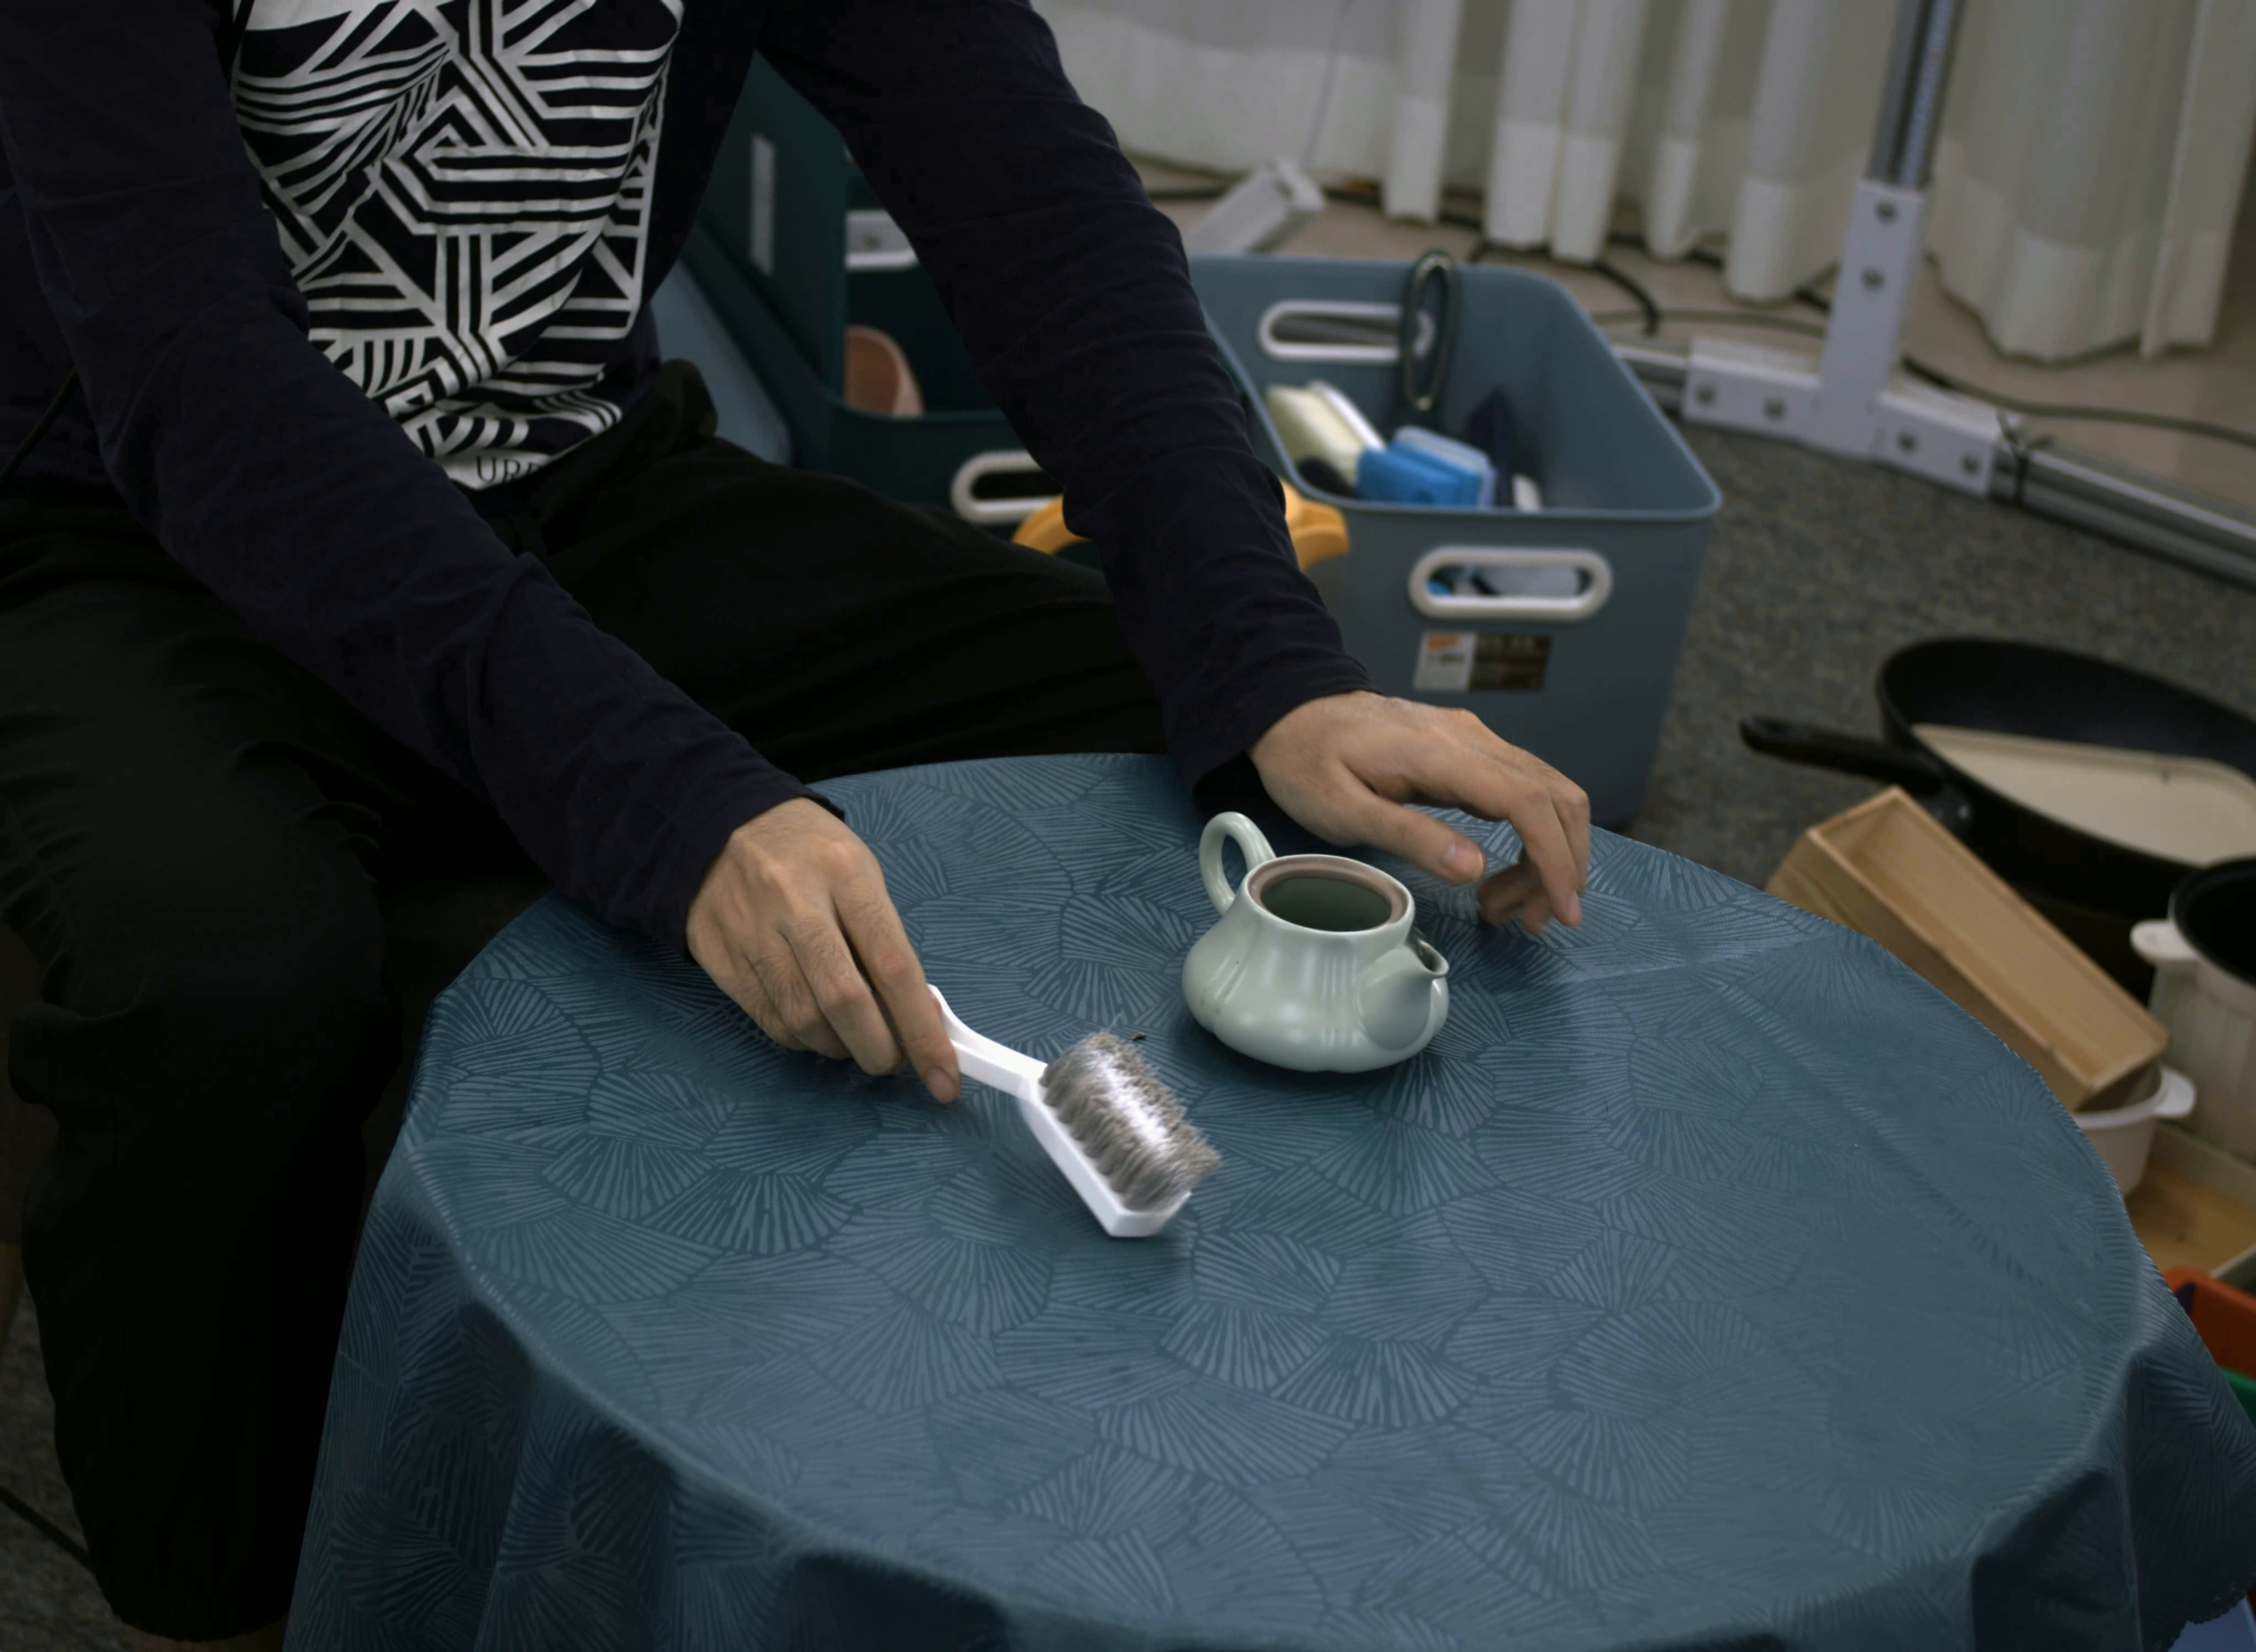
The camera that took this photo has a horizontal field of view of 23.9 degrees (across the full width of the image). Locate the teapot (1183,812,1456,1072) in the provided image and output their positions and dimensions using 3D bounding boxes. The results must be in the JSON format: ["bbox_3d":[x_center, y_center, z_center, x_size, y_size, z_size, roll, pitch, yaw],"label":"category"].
[{"bbox_3d":[0.066,0.045,1.909,0.095,0.061,0.138,-18,36,-34],"label":"teapot"}]

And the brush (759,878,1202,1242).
[{"bbox_3d":[-0.056,0.064,1.843,0.034,0.050,0.246,-16,38,-32],"label":"brush"}]
